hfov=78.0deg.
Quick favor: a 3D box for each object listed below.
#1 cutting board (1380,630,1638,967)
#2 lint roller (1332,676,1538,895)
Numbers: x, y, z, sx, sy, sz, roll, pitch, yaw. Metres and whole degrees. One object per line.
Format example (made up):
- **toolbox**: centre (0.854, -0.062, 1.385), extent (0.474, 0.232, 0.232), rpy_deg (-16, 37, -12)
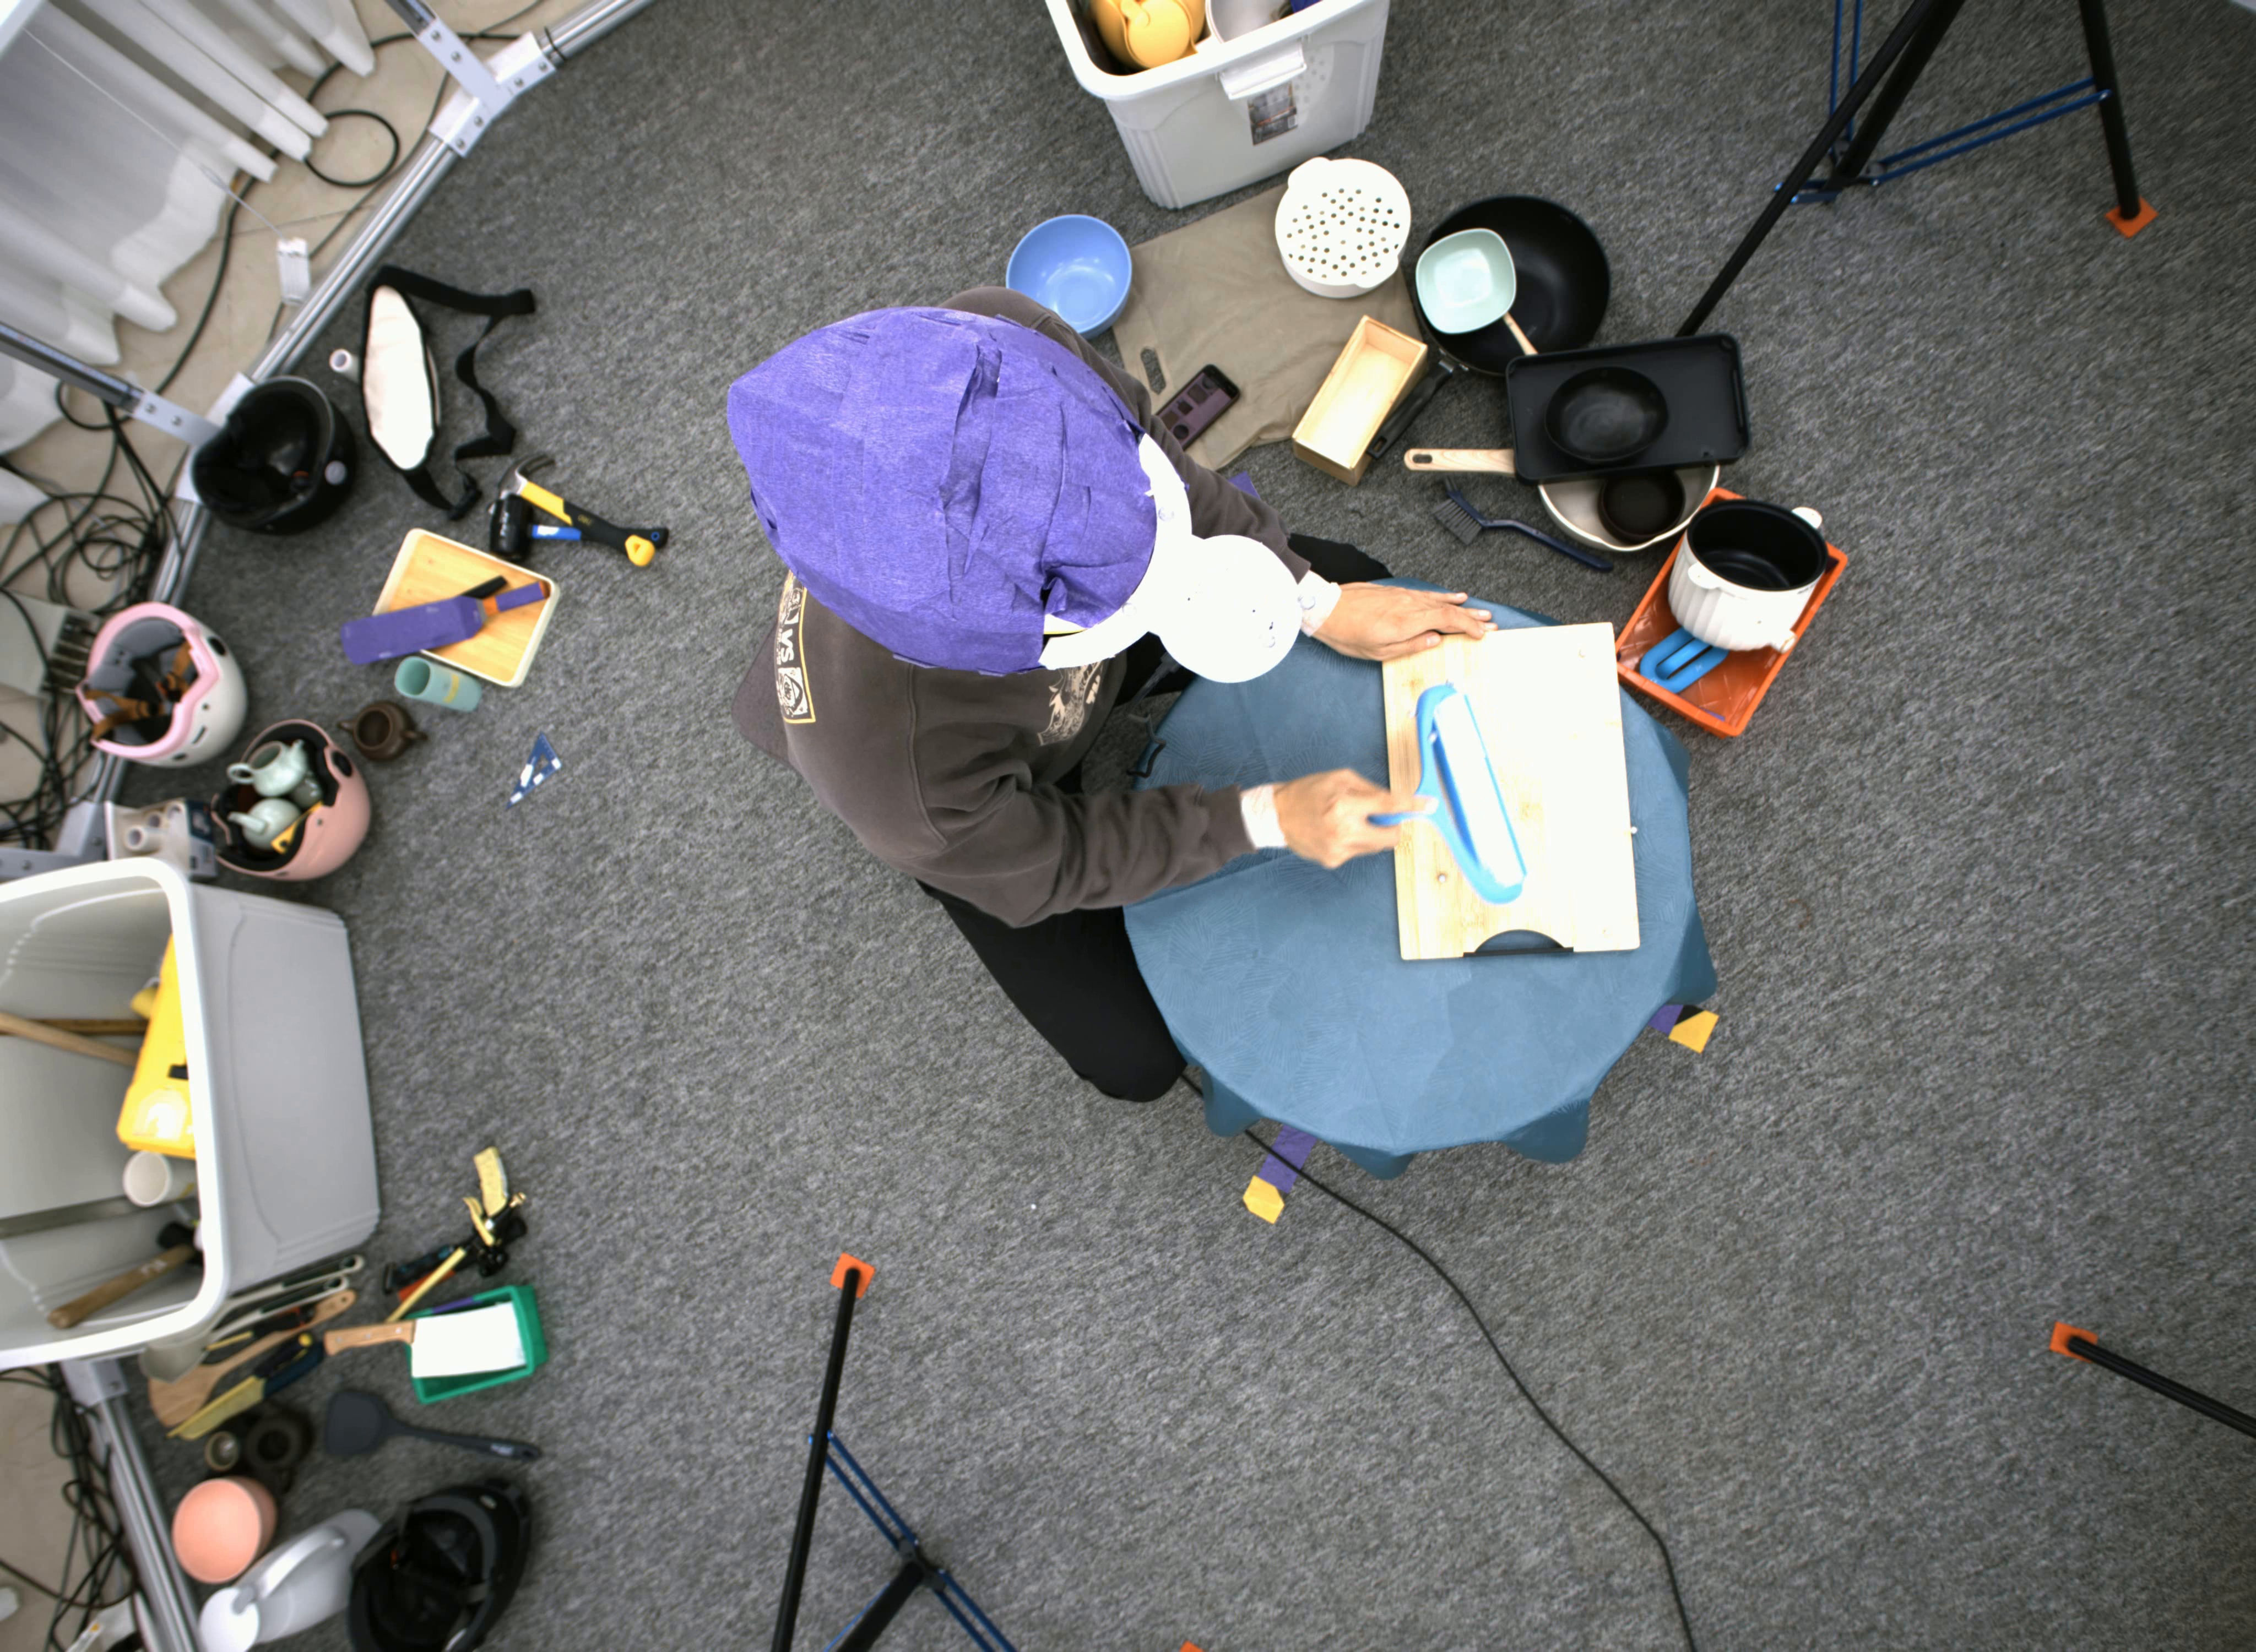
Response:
- **cutting board**: centre (0.394, -0.033, 1.431), extent (0.252, 0.023, 0.347), rpy_deg (-4, 86, 11)
- **lint roller**: centre (0.292, -0.023, 1.348), extent (0.179, 0.068, 0.228), rpy_deg (-20, 87, -10)
